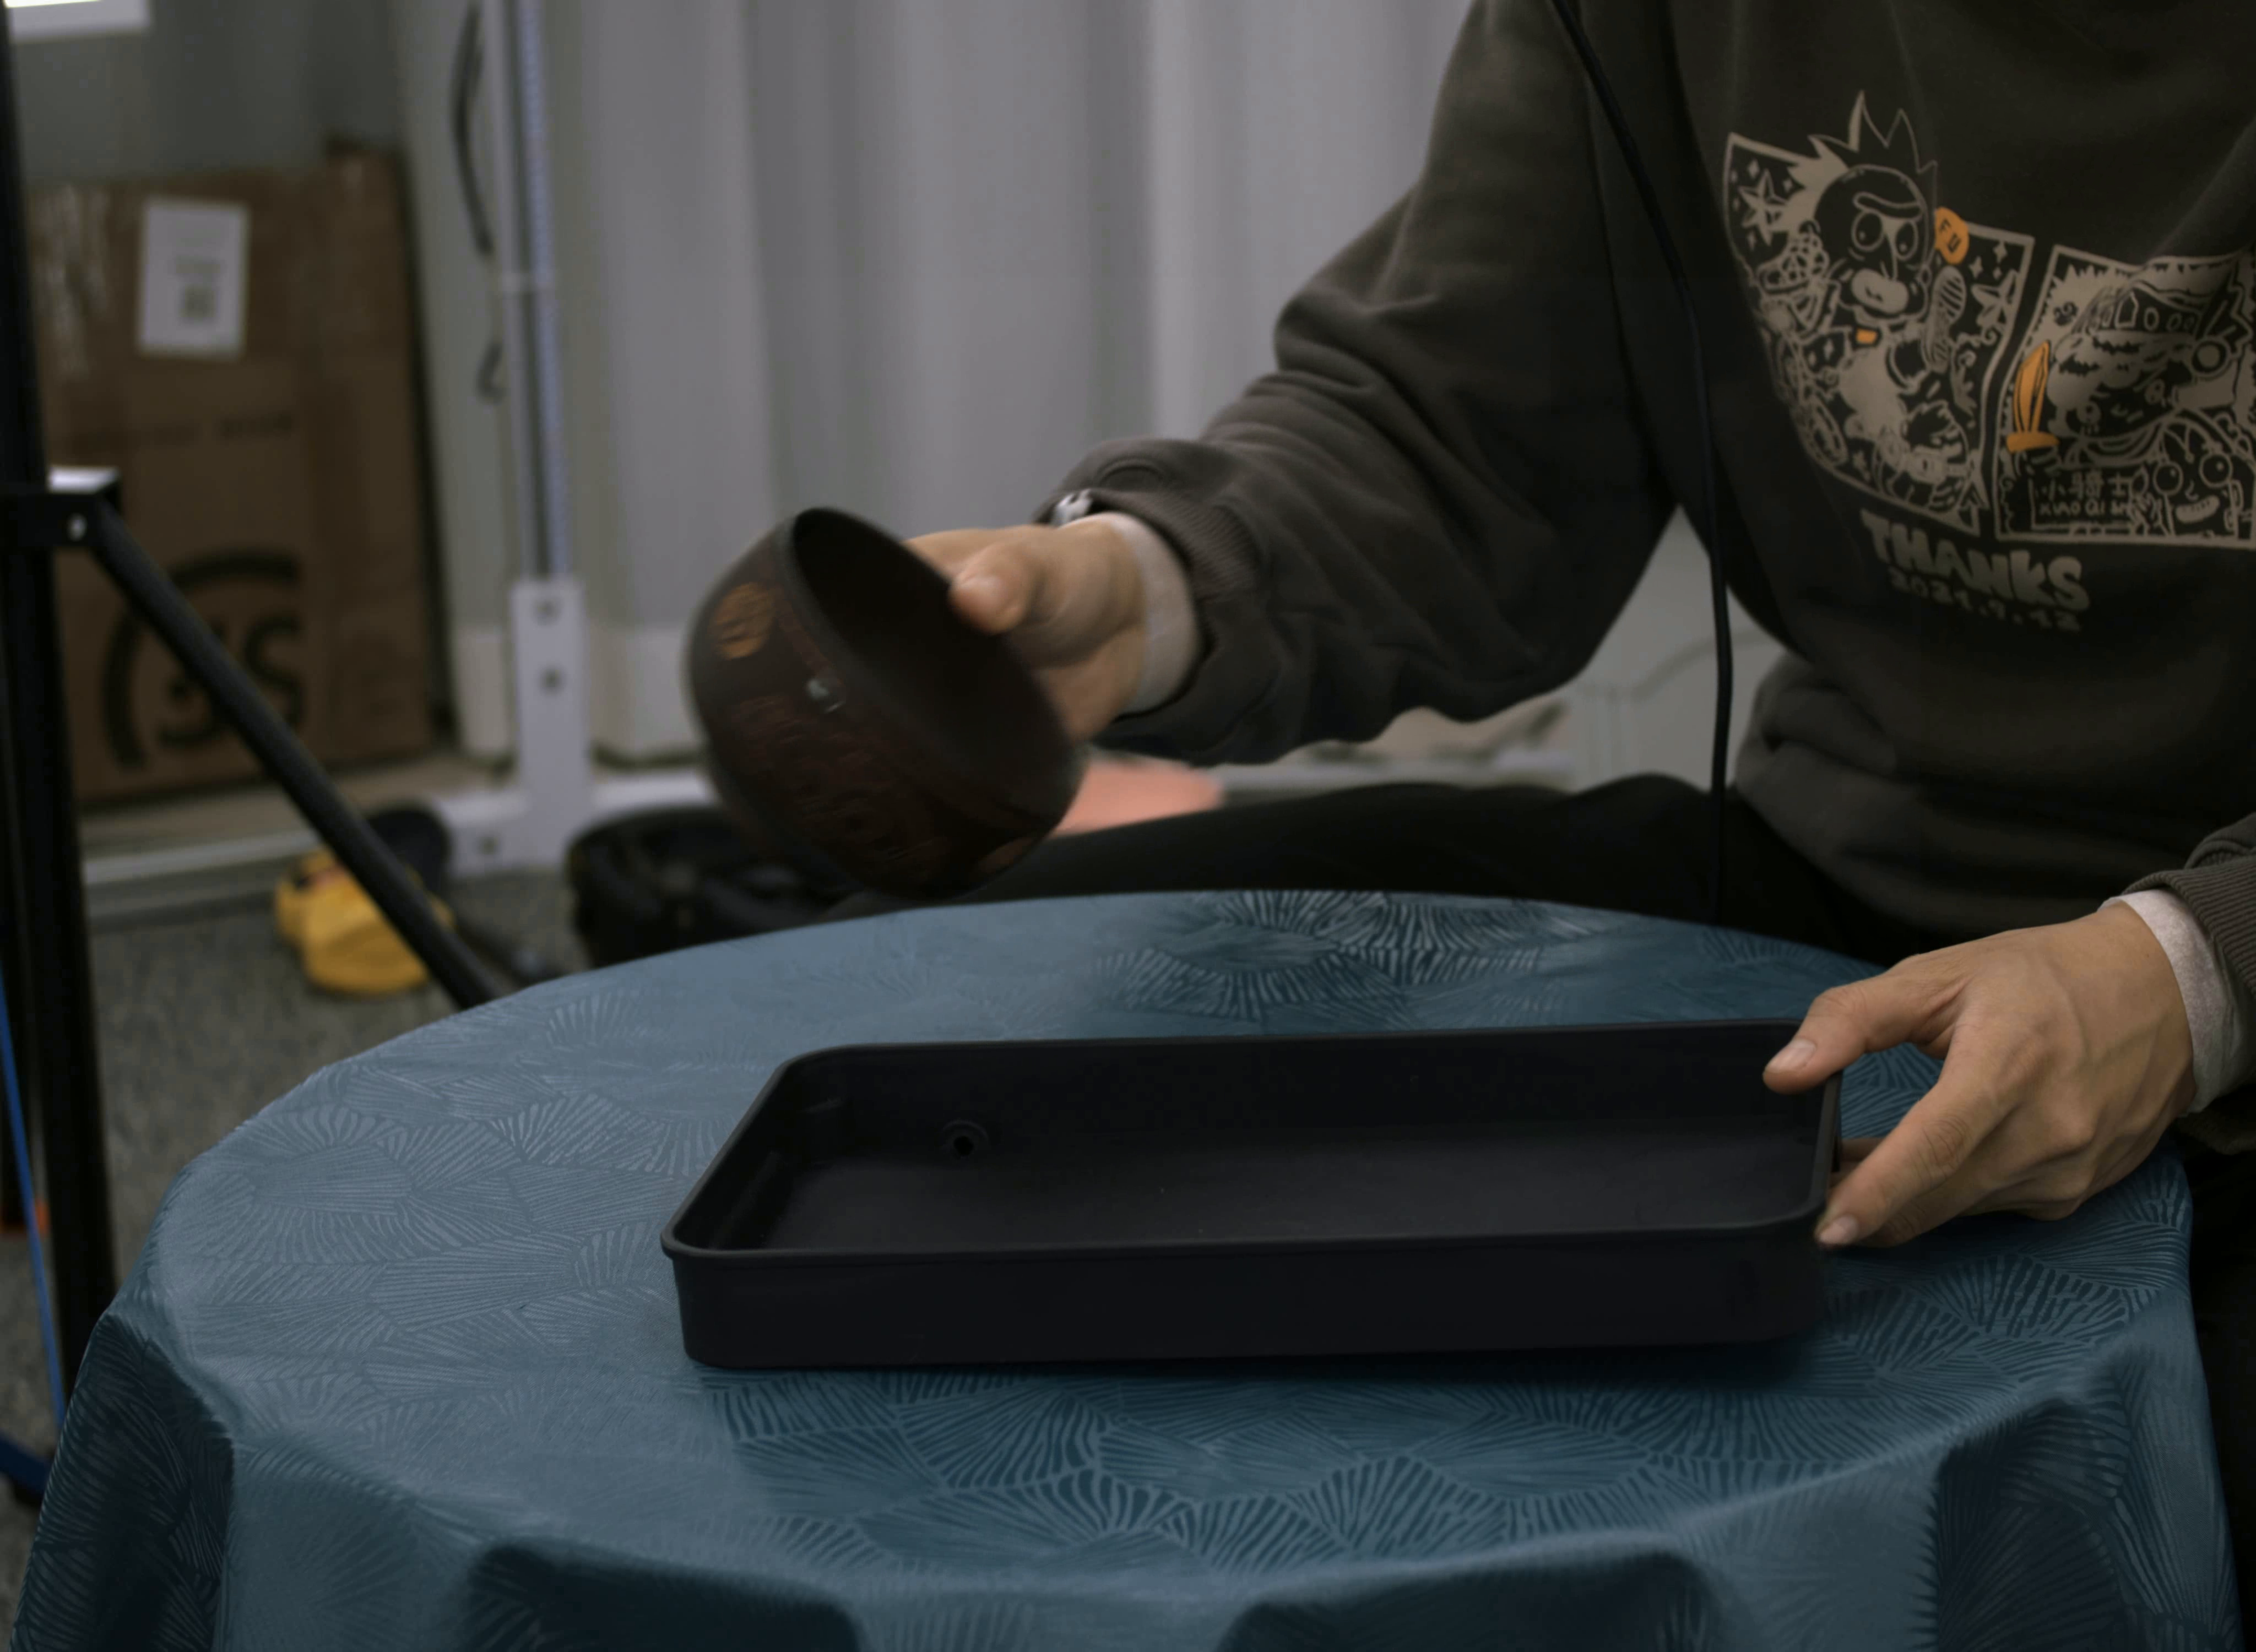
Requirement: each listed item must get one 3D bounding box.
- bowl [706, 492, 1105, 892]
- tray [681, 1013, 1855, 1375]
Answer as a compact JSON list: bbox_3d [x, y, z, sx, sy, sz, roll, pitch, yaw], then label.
[{"bbox_3d":[-0.071,-0.029,1.498,0.116,0.070,0.119,39,18,-18],"label":"bowl"},{"bbox_3d":[0.045,0.101,1.488,0.319,0.037,0.183,-3,14,10],"label":"tray"}]
